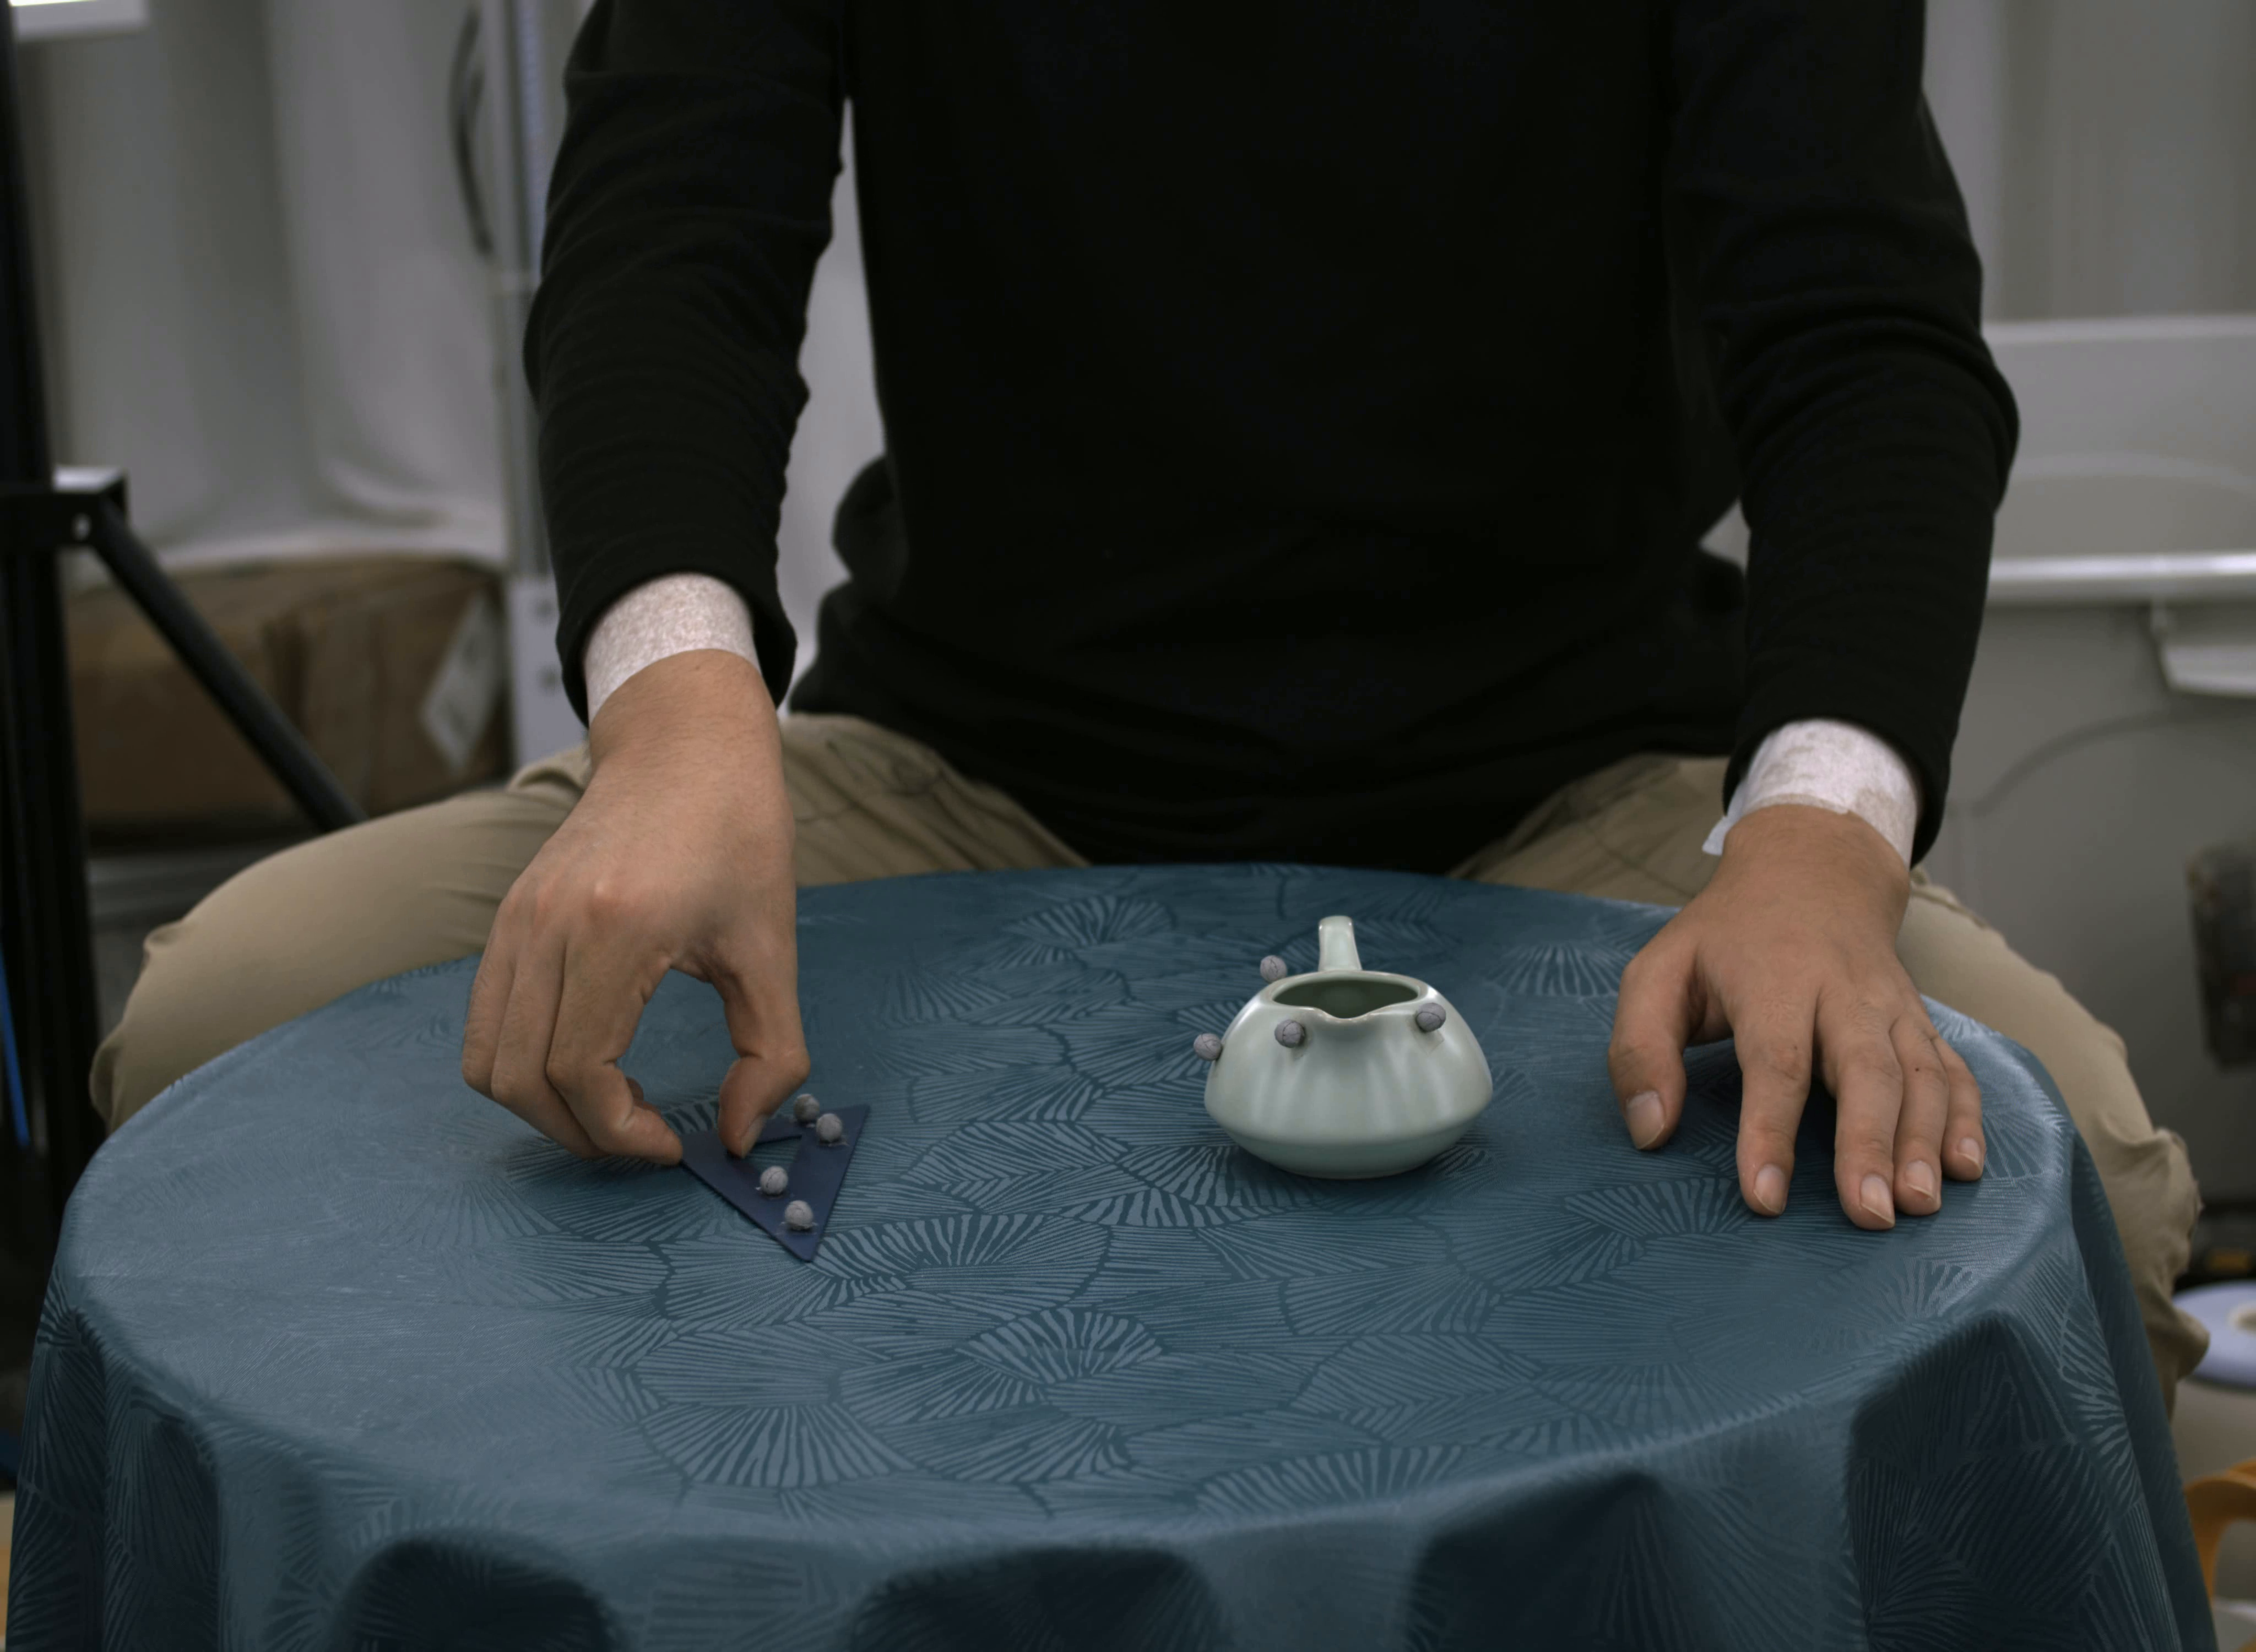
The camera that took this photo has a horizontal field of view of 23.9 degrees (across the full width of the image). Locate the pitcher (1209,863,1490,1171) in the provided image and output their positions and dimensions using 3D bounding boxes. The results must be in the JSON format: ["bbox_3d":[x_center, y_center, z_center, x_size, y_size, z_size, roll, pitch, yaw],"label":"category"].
[{"bbox_3d":[0.067,0.059,1.593,0.087,0.060,0.108,-7,31,21],"label":"pitcher"}]

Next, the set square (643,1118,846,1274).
[{"bbox_3d":[-0.121,0.107,1.573,0.061,0.006,0.132,2,17,7],"label":"set square"}]
